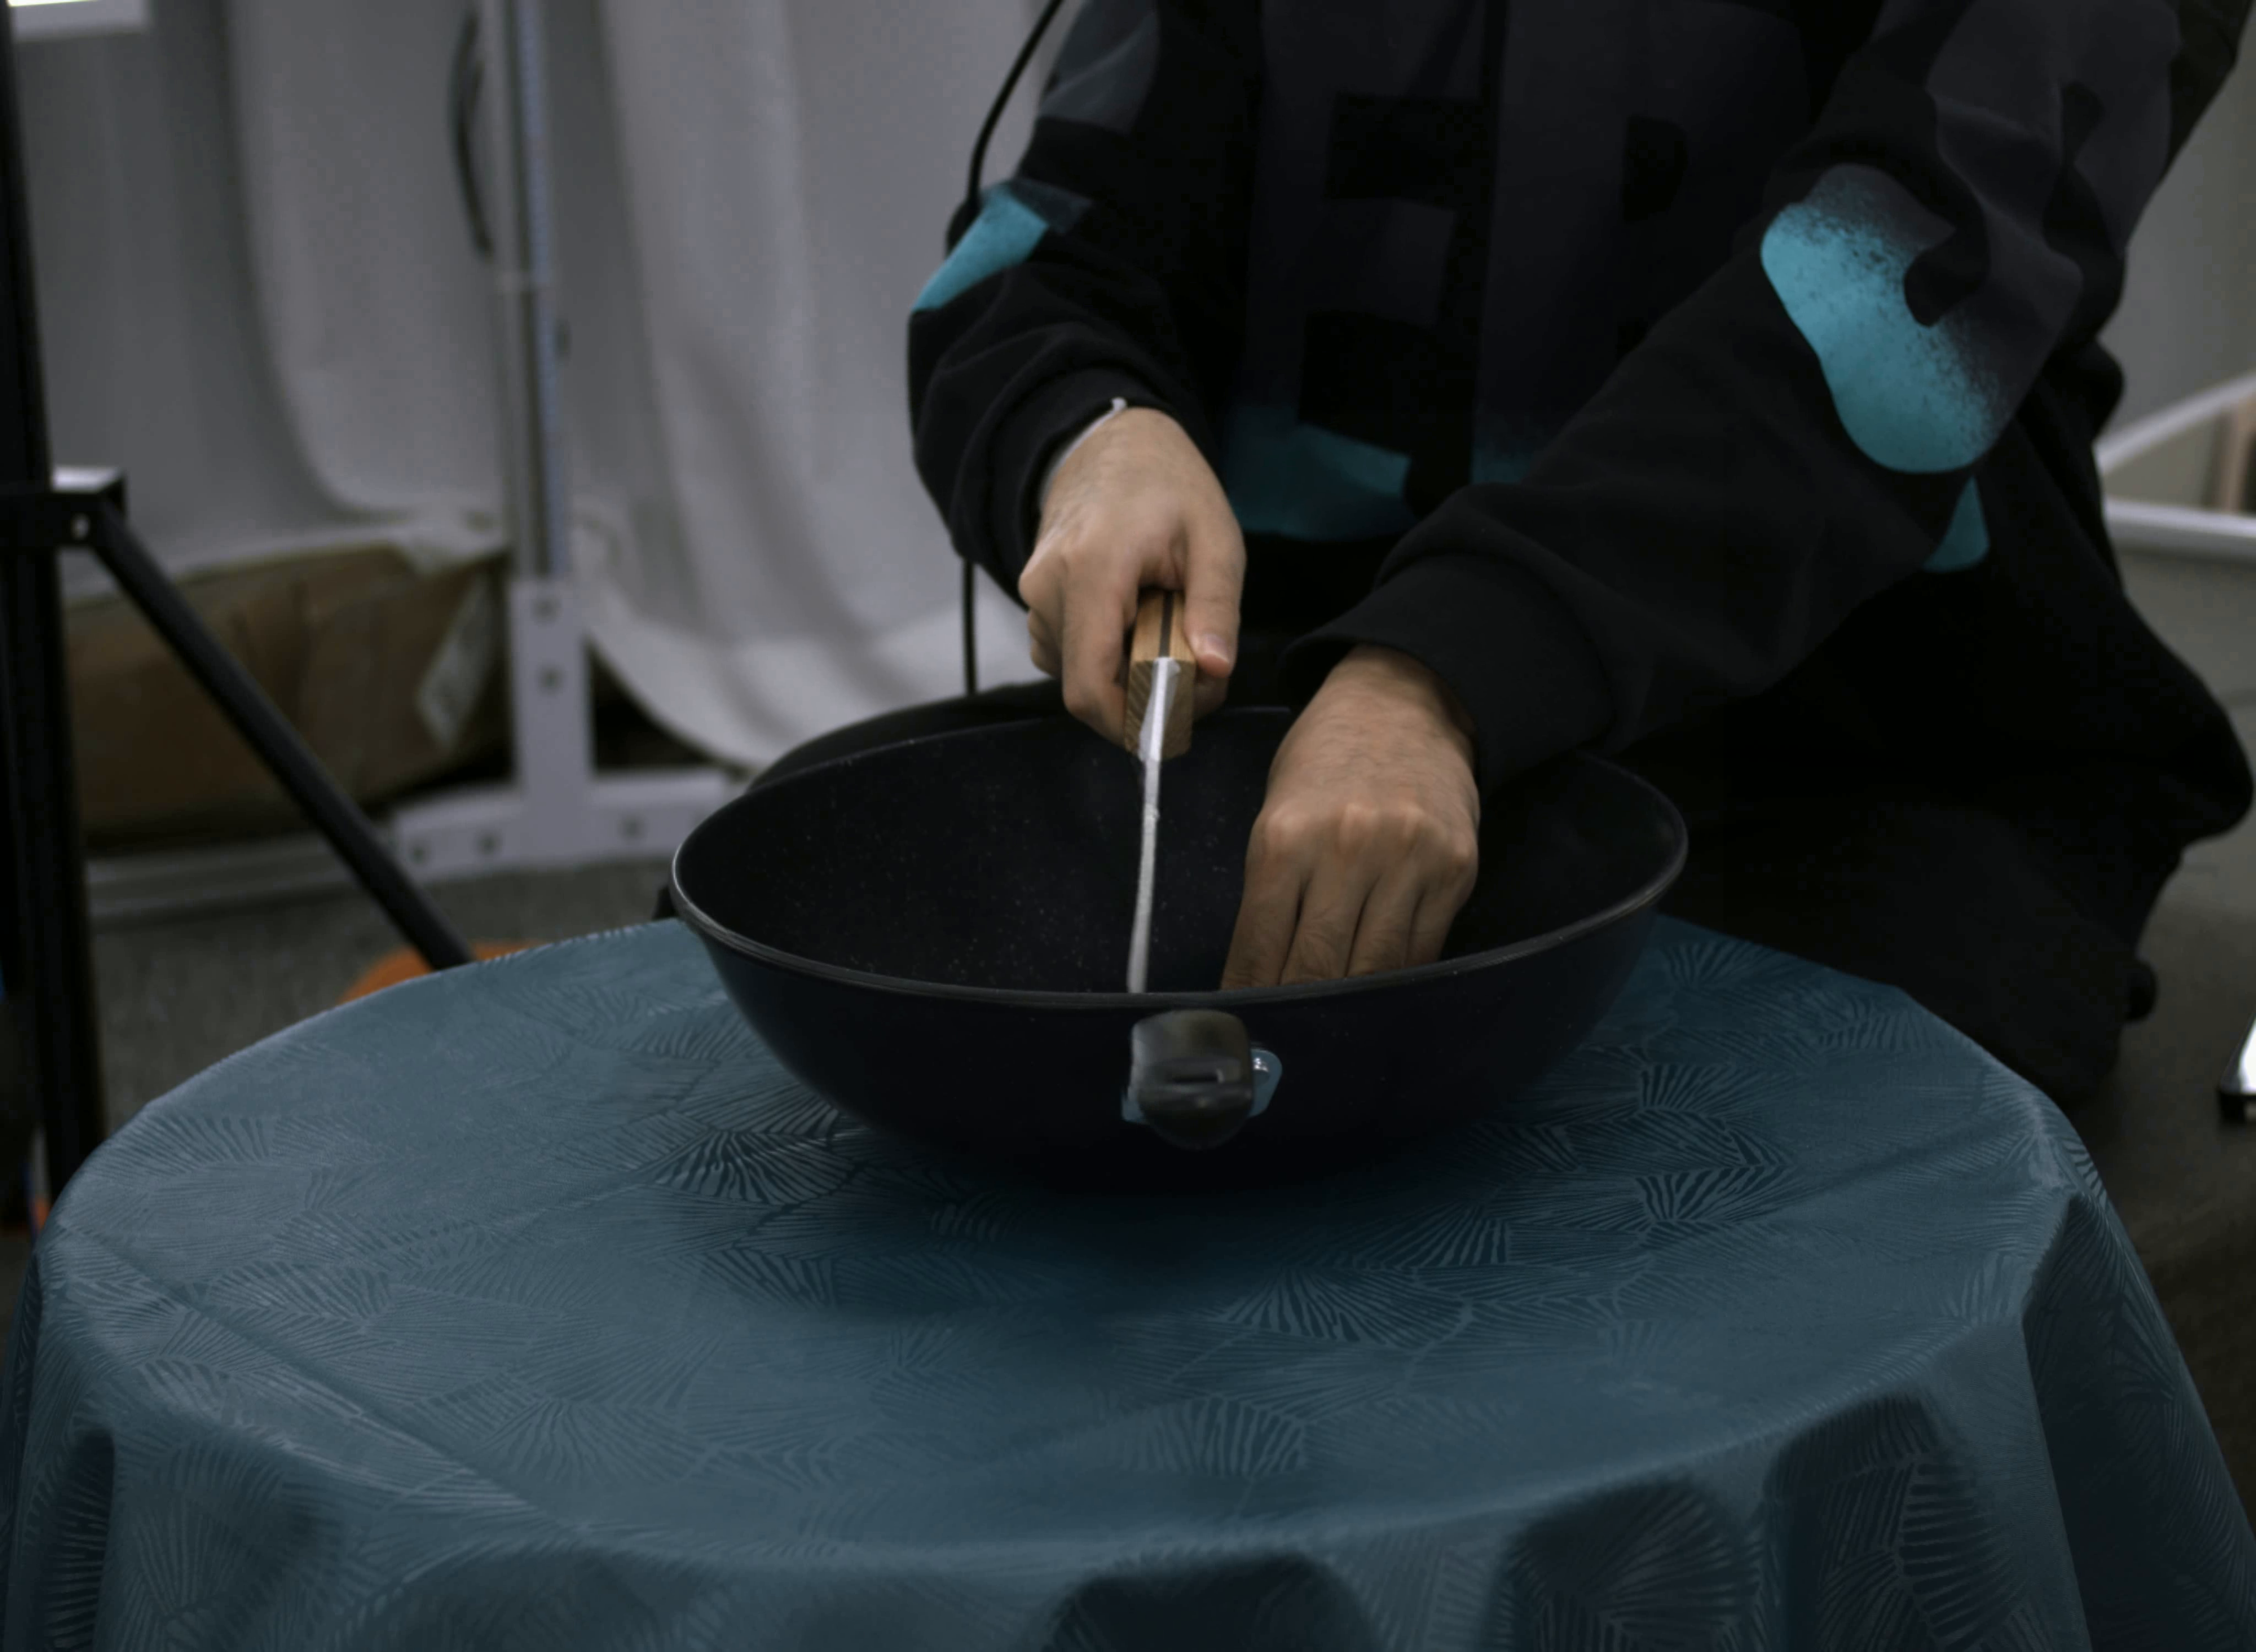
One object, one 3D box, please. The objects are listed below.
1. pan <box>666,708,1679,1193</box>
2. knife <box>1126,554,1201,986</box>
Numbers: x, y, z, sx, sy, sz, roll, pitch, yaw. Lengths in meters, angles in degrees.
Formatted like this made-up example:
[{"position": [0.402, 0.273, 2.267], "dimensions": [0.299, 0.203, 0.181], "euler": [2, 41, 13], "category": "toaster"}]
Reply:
[{"position": [0.016, 0.056, 1.545], "dimensions": [0.309, 0.111, 0.479], "euler": [-4, 16, 1], "category": "pan"}, {"position": [0.009, -0.013, 1.661], "dimensions": [0.021, 0.114, 0.317], "euler": [4, 25, 0], "category": "knife"}]
